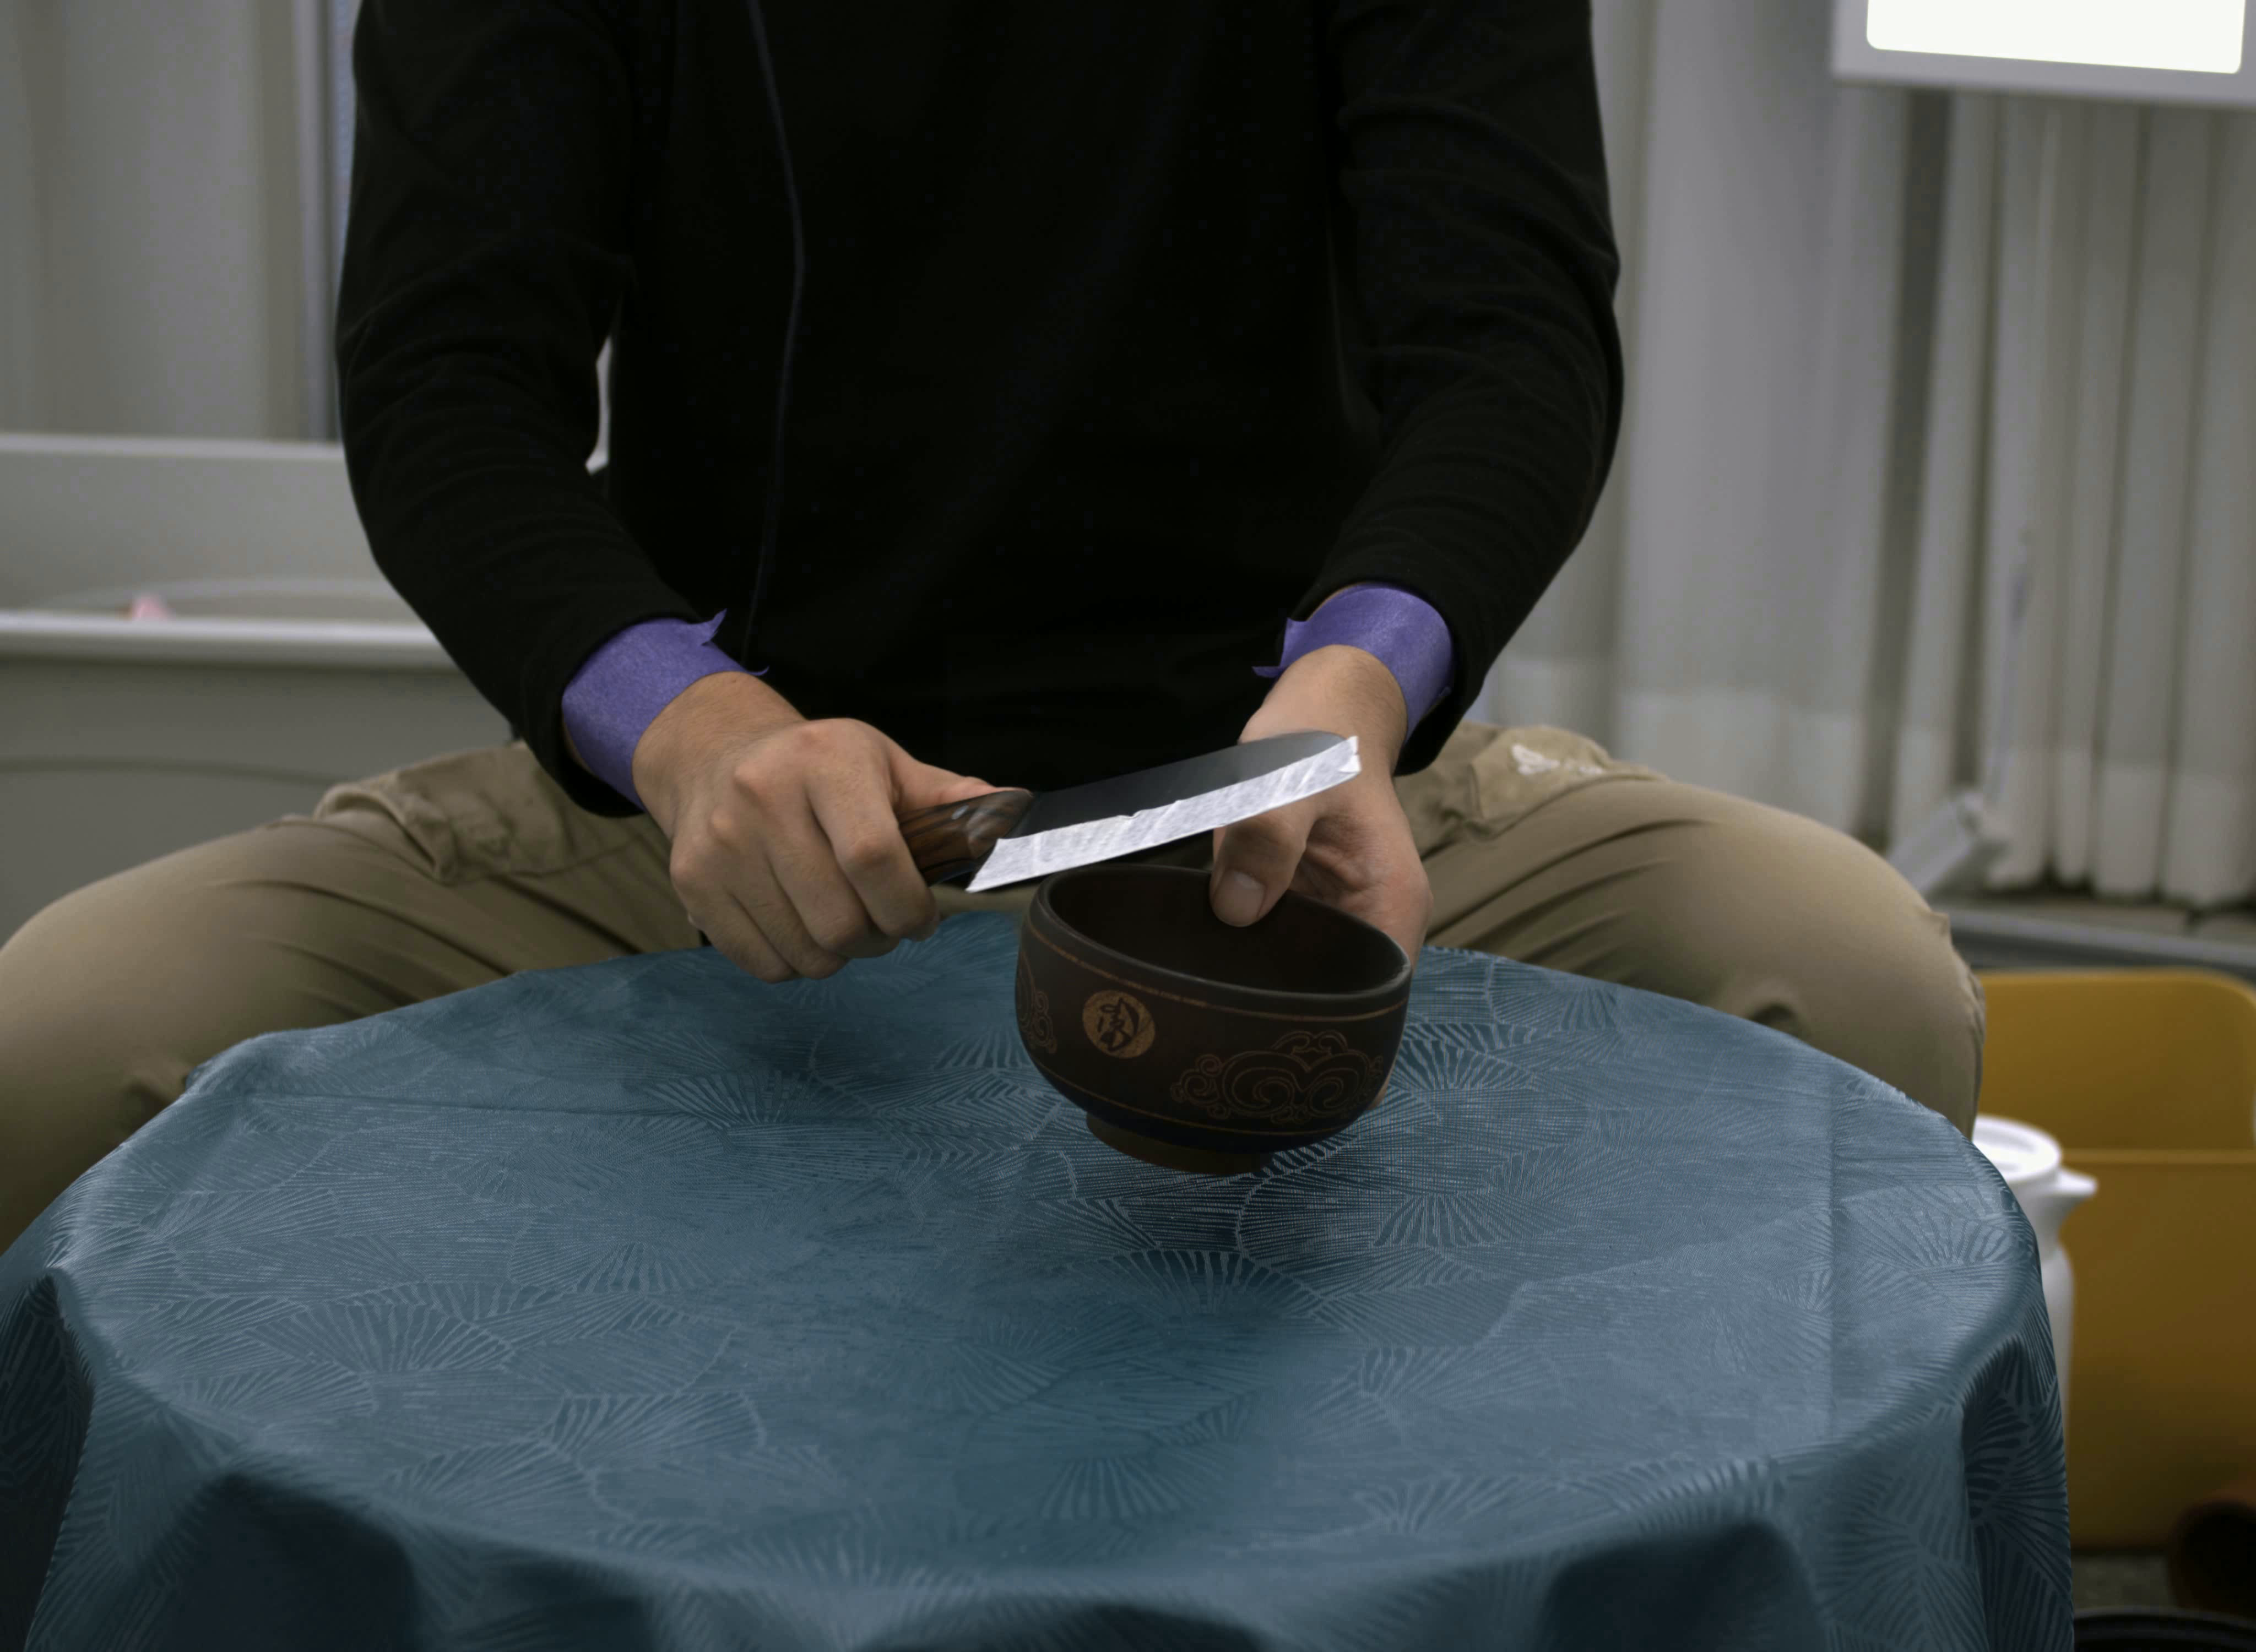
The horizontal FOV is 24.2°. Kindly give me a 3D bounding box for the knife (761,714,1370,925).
[{"bbox_3d":[-0.023,0.000,1.628,0.286,0.020,0.050,-12,35,48],"label":"knife"}]

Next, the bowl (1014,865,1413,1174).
[{"bbox_3d":[0.022,0.062,1.573,0.118,0.070,0.117,10,15,-2],"label":"bowl"}]
